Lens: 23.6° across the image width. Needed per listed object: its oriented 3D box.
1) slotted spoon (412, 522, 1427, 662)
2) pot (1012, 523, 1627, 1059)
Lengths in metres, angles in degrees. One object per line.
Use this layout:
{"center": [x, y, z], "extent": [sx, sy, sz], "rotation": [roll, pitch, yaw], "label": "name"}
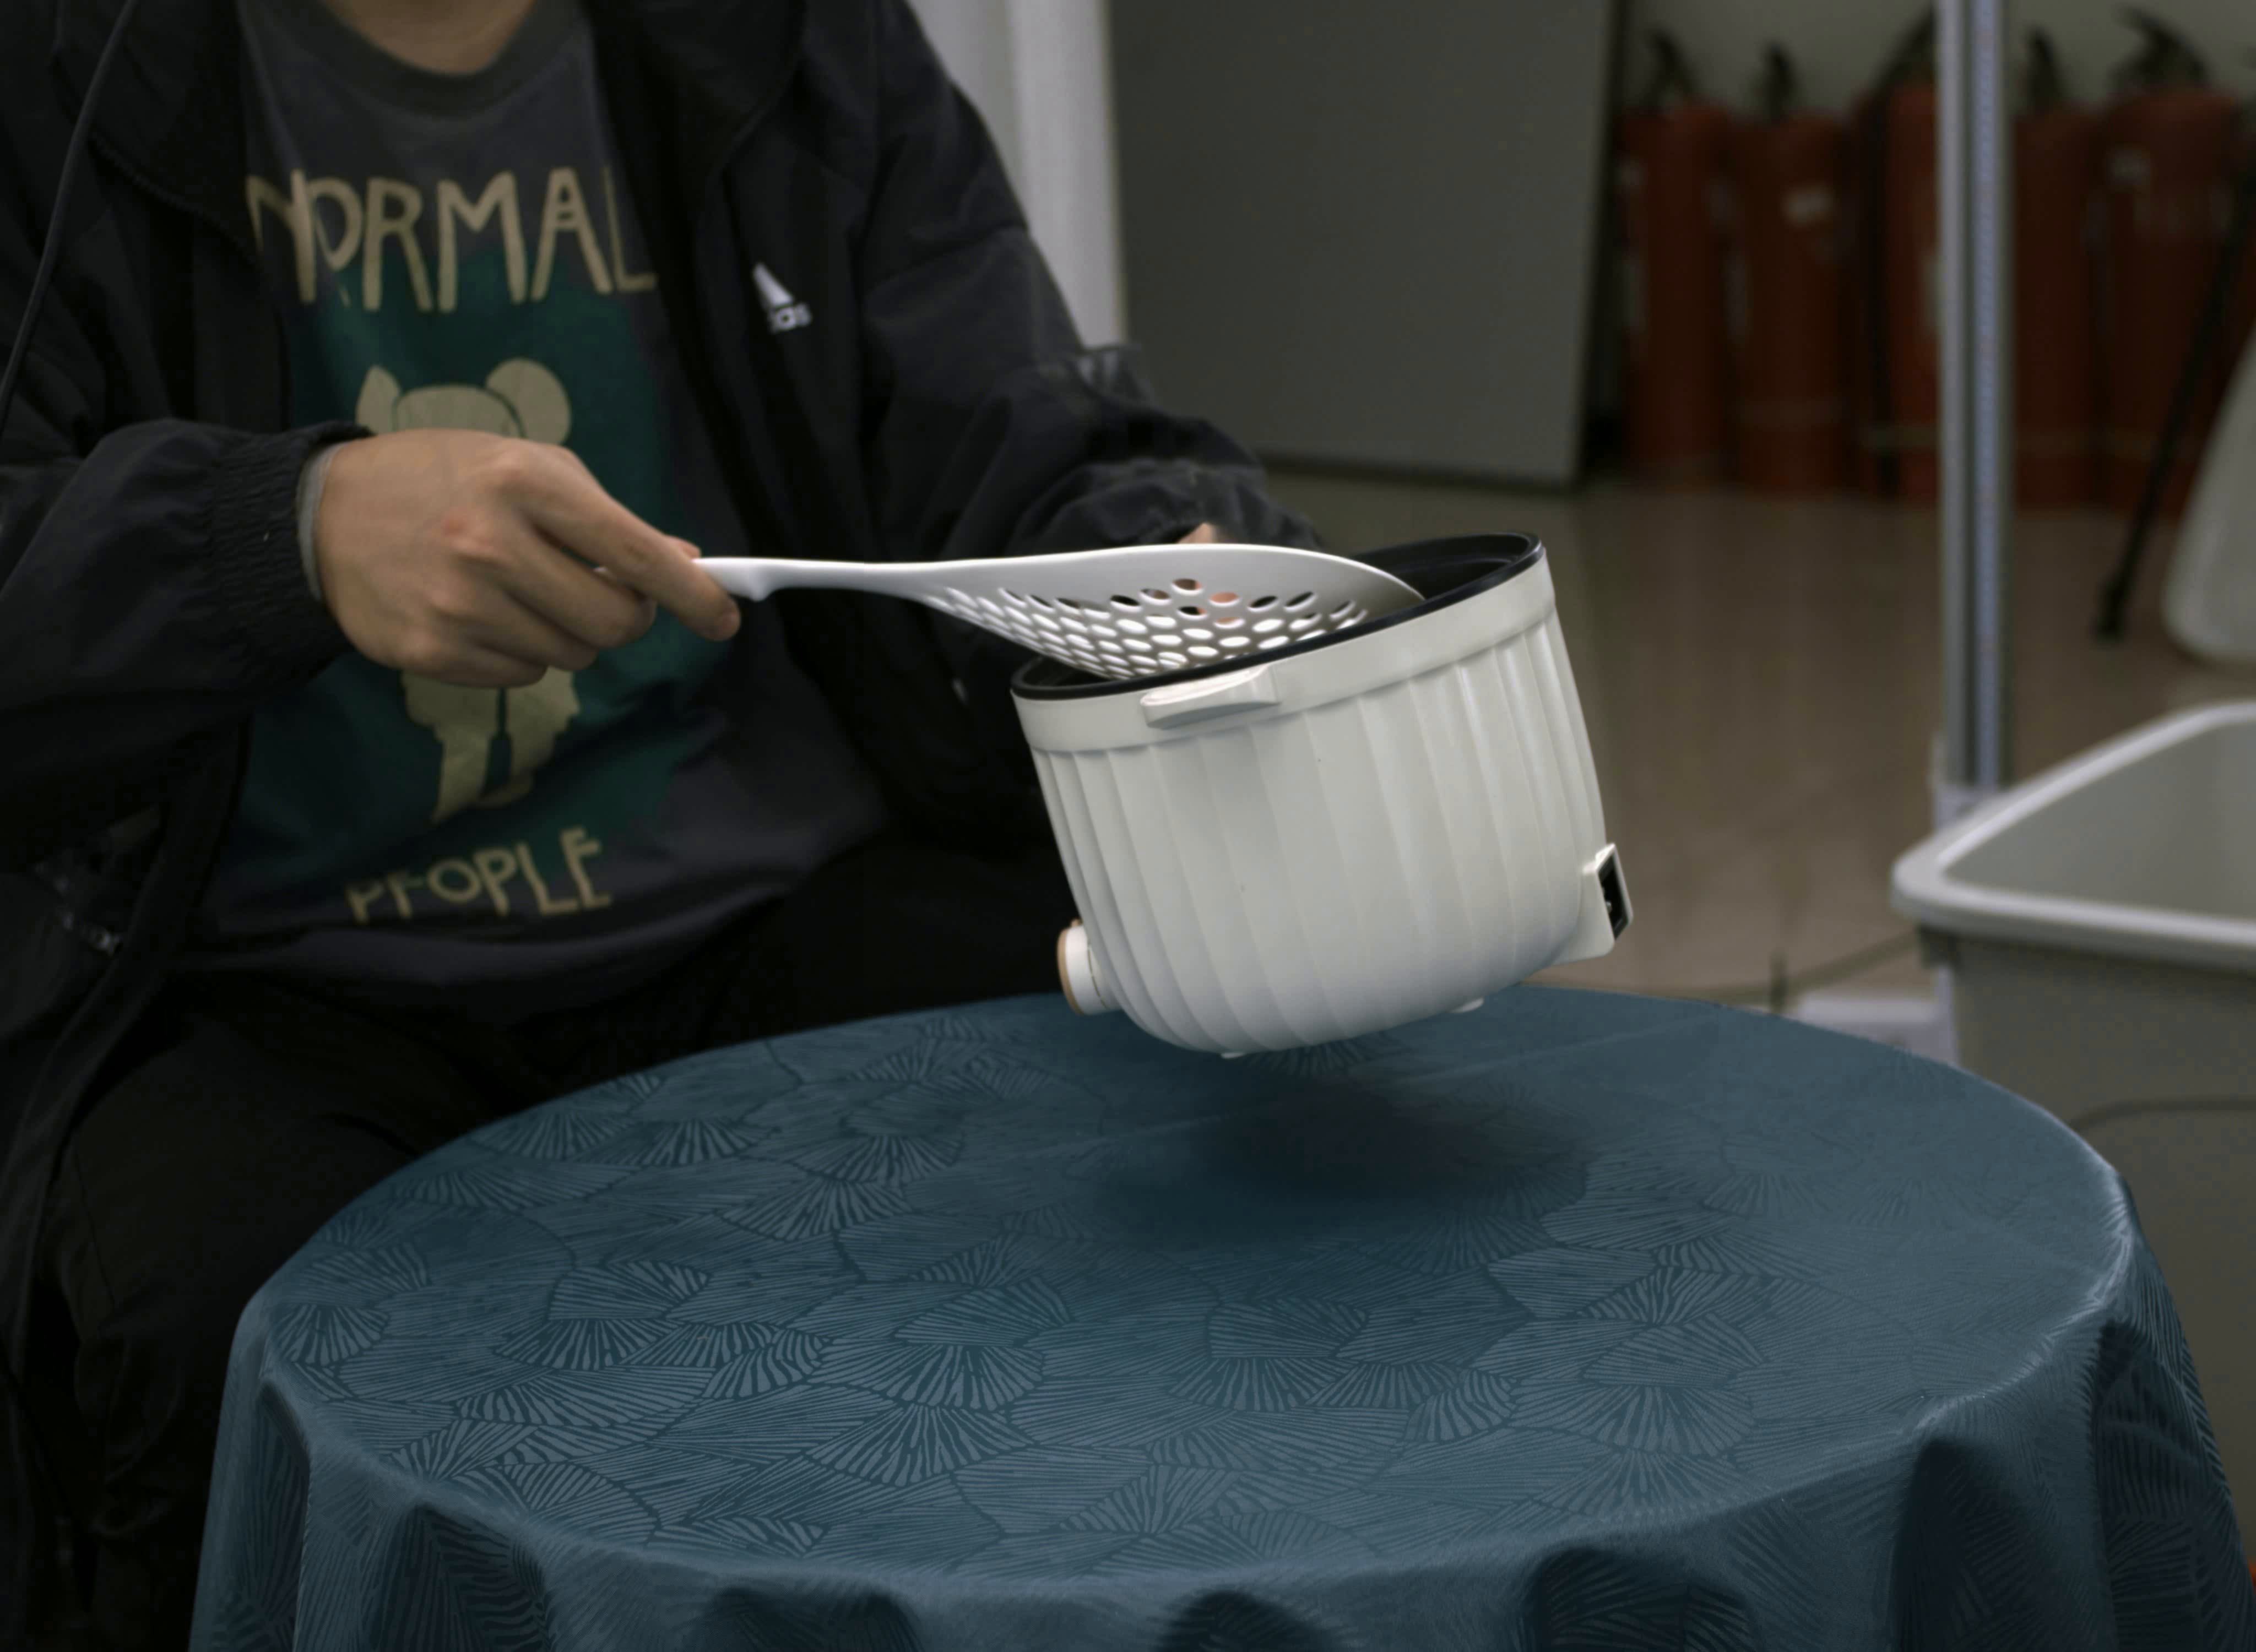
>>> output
{"center": [-0.070, -0.074, 1.794], "extent": [0.346, 0.051, 0.135], "rotation": [5, -7, 15], "label": "slotted spoon"}
{"center": [0.059, -0.008, 1.768], "extent": [0.190, 0.144, 0.238], "rotation": [-9, 9, 18], "label": "pot"}
